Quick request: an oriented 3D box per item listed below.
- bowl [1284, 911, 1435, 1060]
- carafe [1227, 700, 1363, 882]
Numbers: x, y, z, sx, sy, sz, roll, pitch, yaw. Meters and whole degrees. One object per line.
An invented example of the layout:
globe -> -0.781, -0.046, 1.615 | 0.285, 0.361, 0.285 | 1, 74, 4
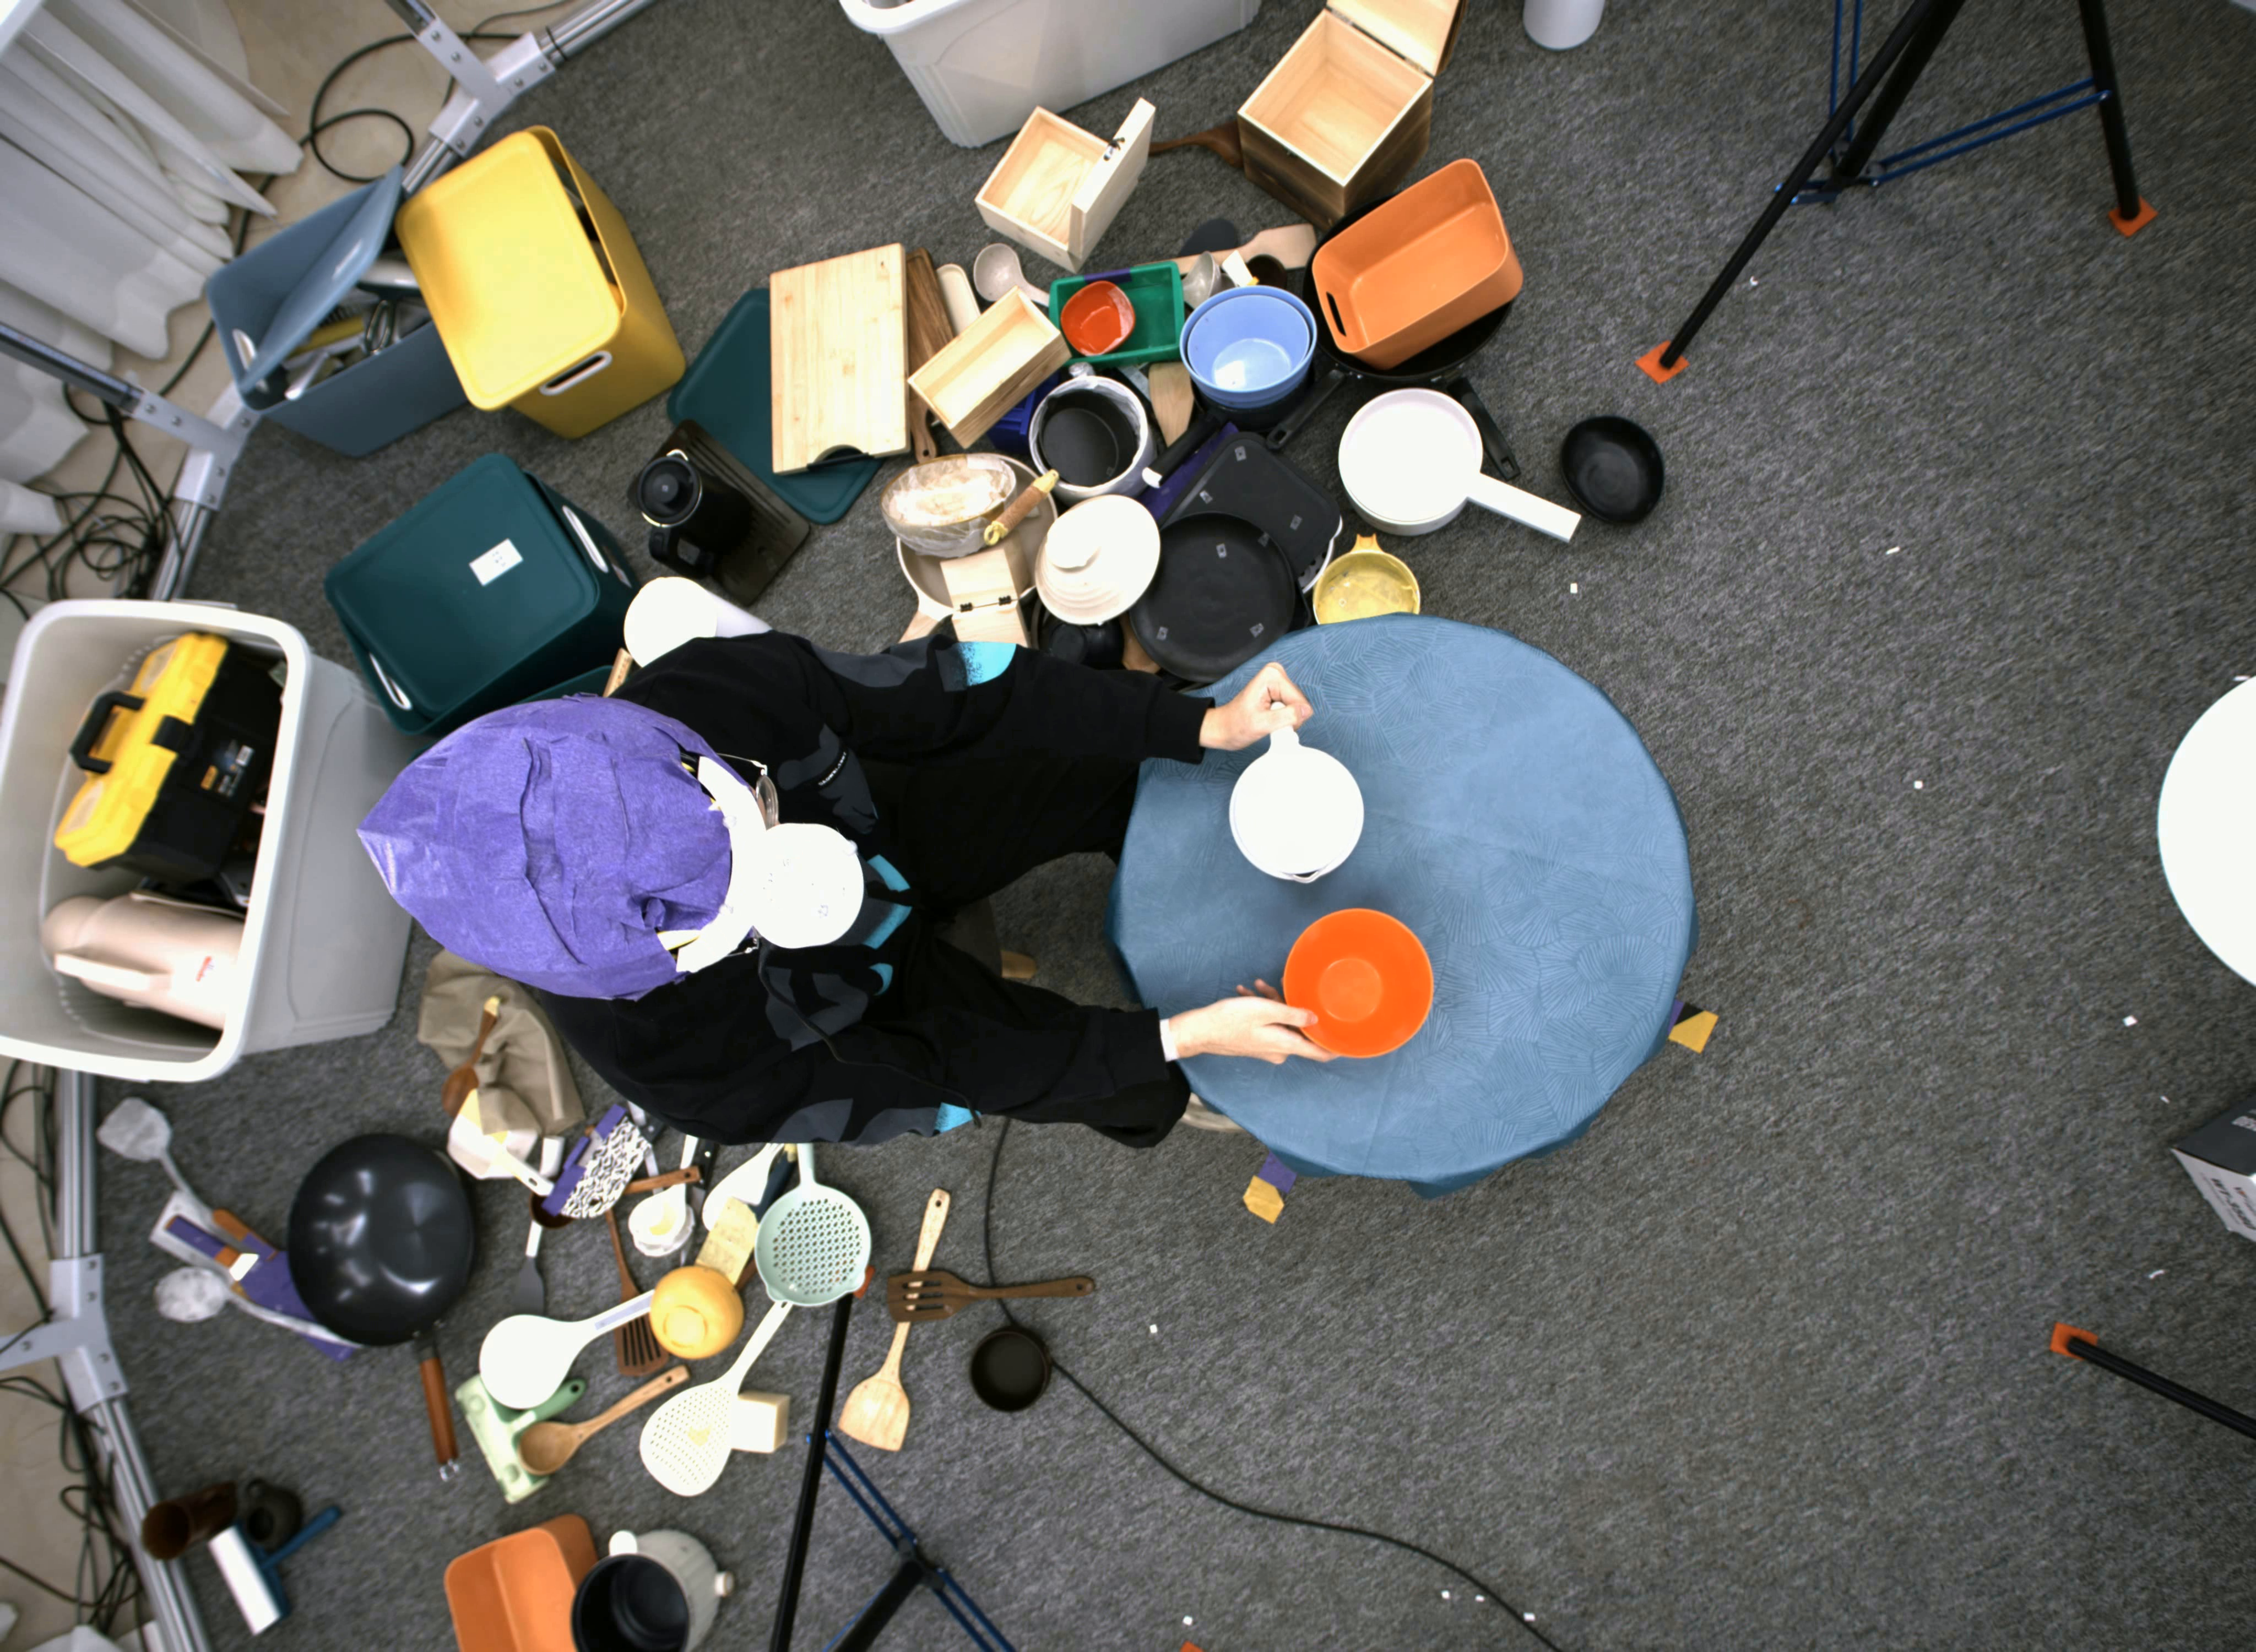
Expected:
bowl -> 0.234, 0.161, 1.406 | 0.148, 0.105, 0.147 | -1, 86, 9
carafe -> 0.164, -0.035, 1.389 | 0.133, 0.182, 0.190 | -12, 85, 7
